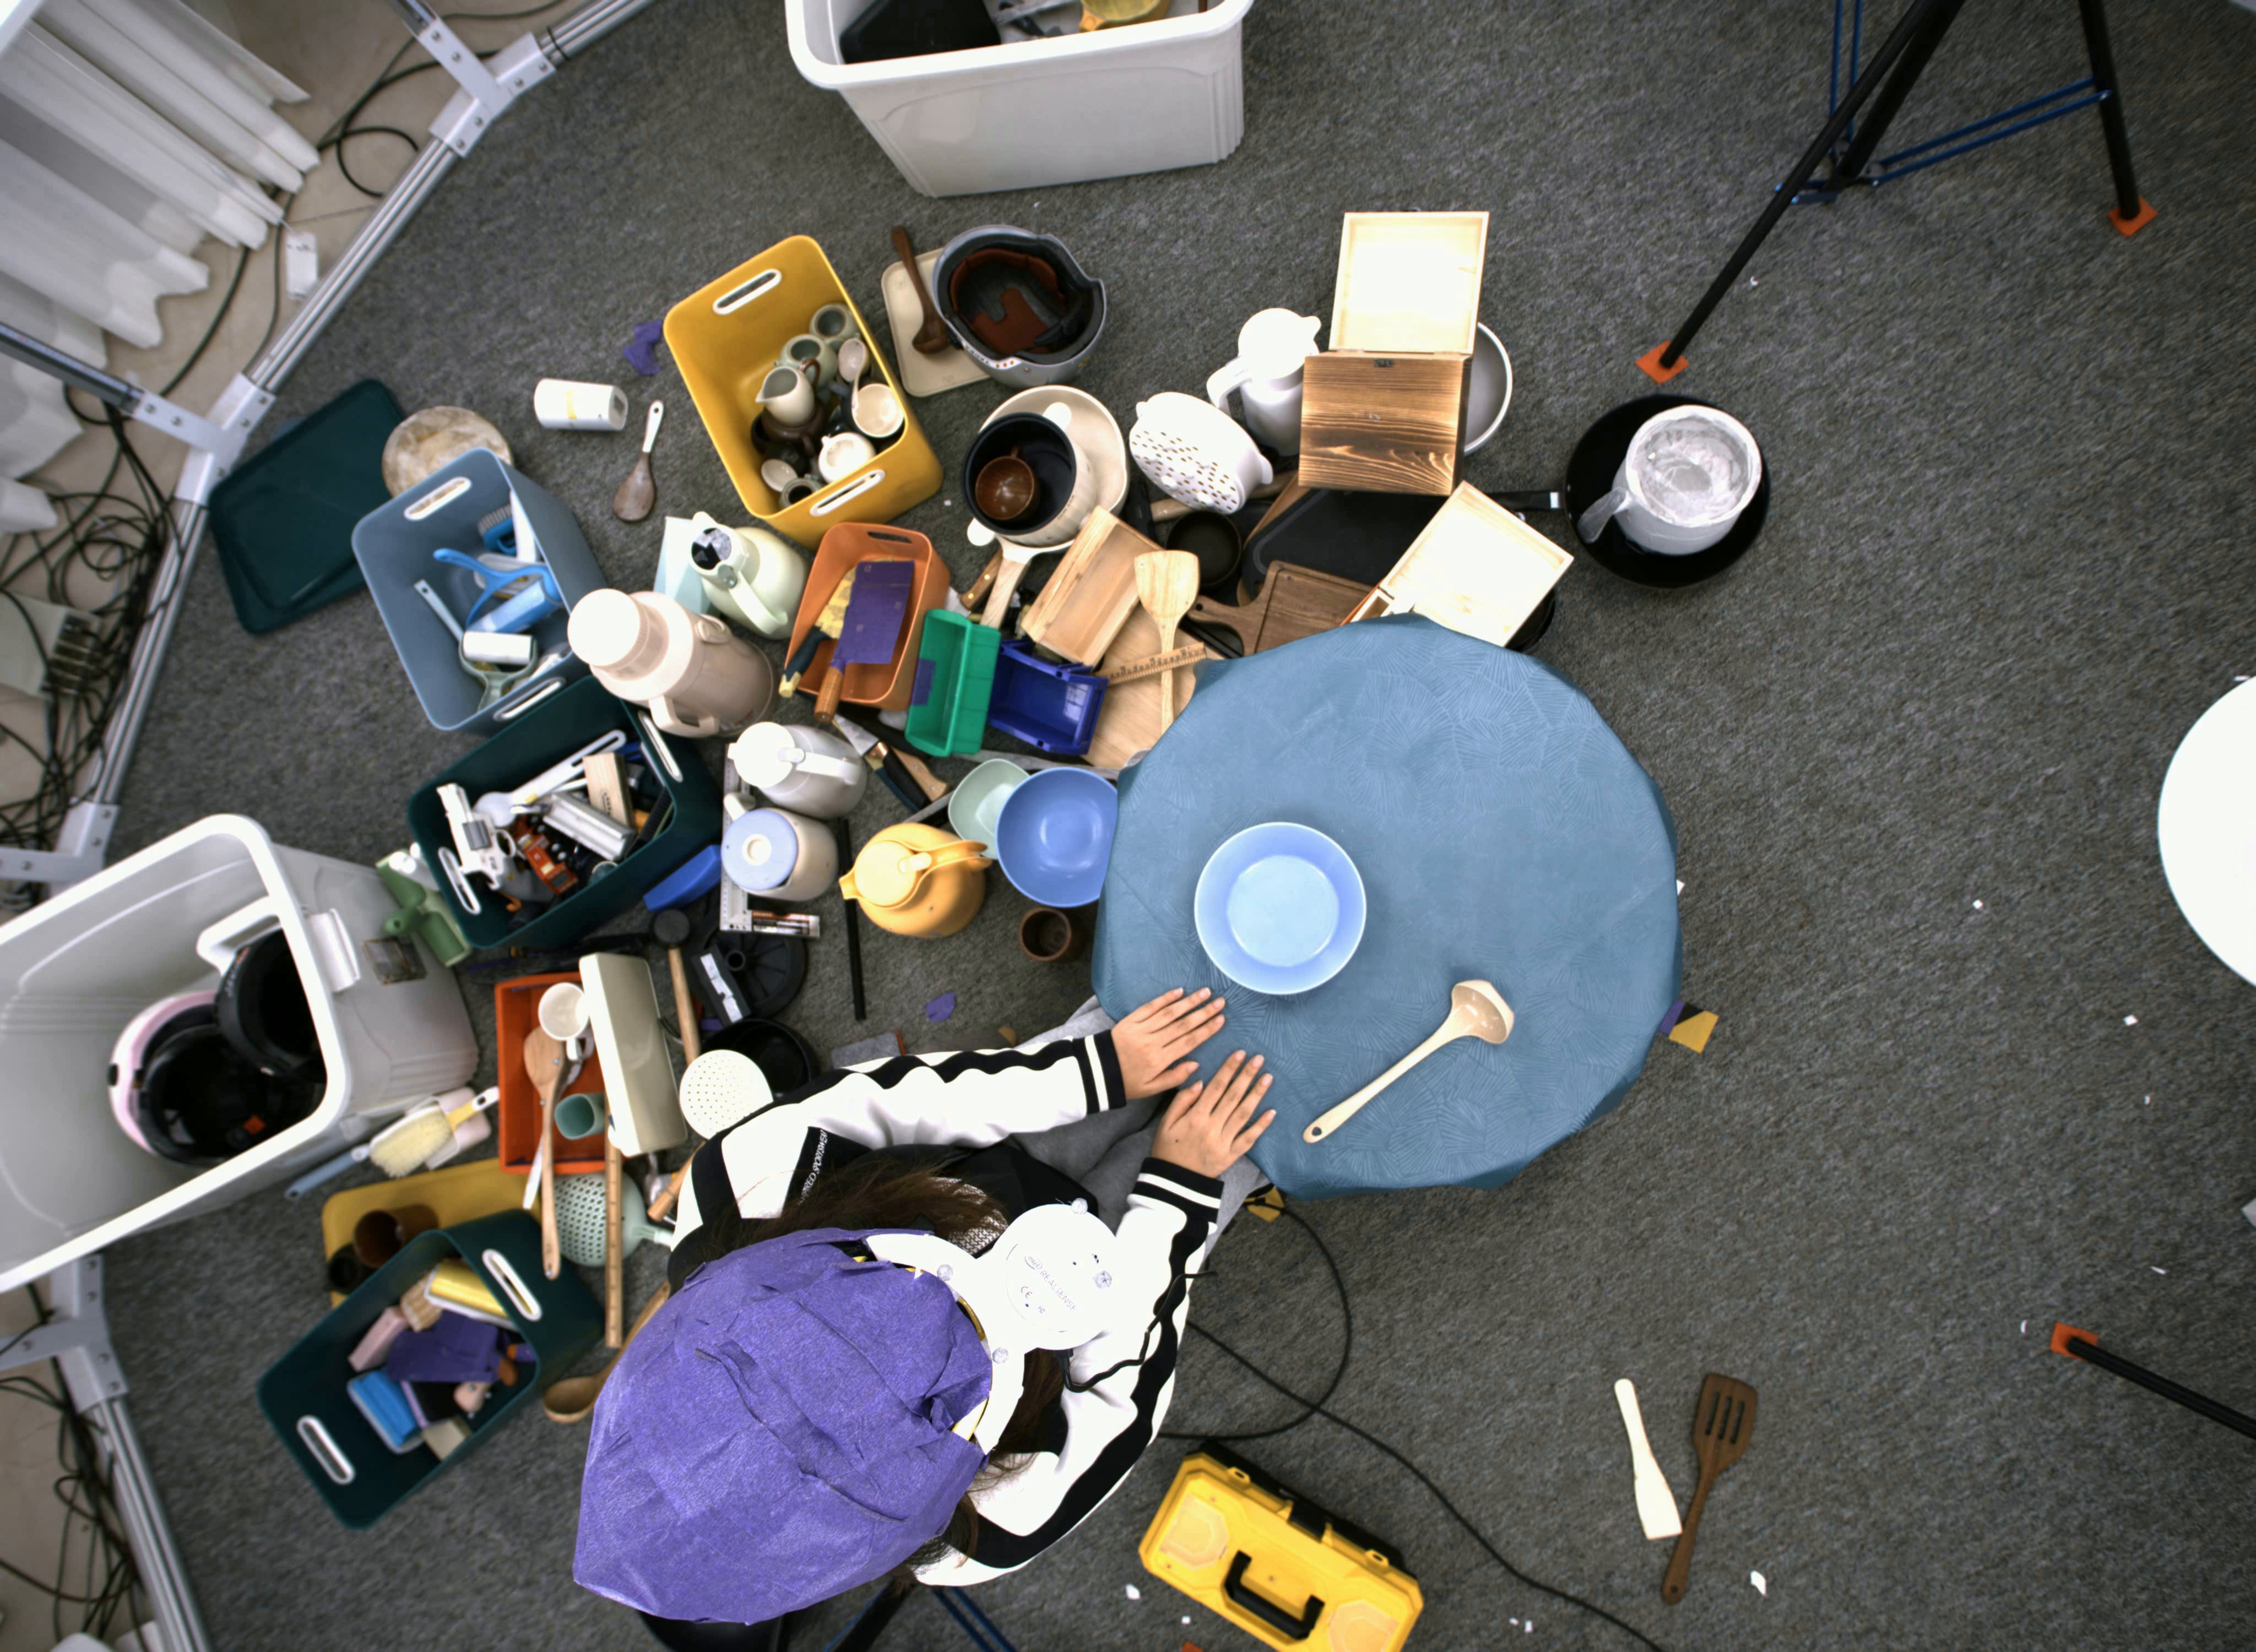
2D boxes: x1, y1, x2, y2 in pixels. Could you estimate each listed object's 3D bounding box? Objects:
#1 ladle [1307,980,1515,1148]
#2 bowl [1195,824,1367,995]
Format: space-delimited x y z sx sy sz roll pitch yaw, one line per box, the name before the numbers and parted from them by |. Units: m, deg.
ladle | 0.283 0.251 1.411 0.256 0.072 0.072 -40 85 6
bowl | 0.161 0.088 1.444 0.177 0.070 0.175 -1 85 11
